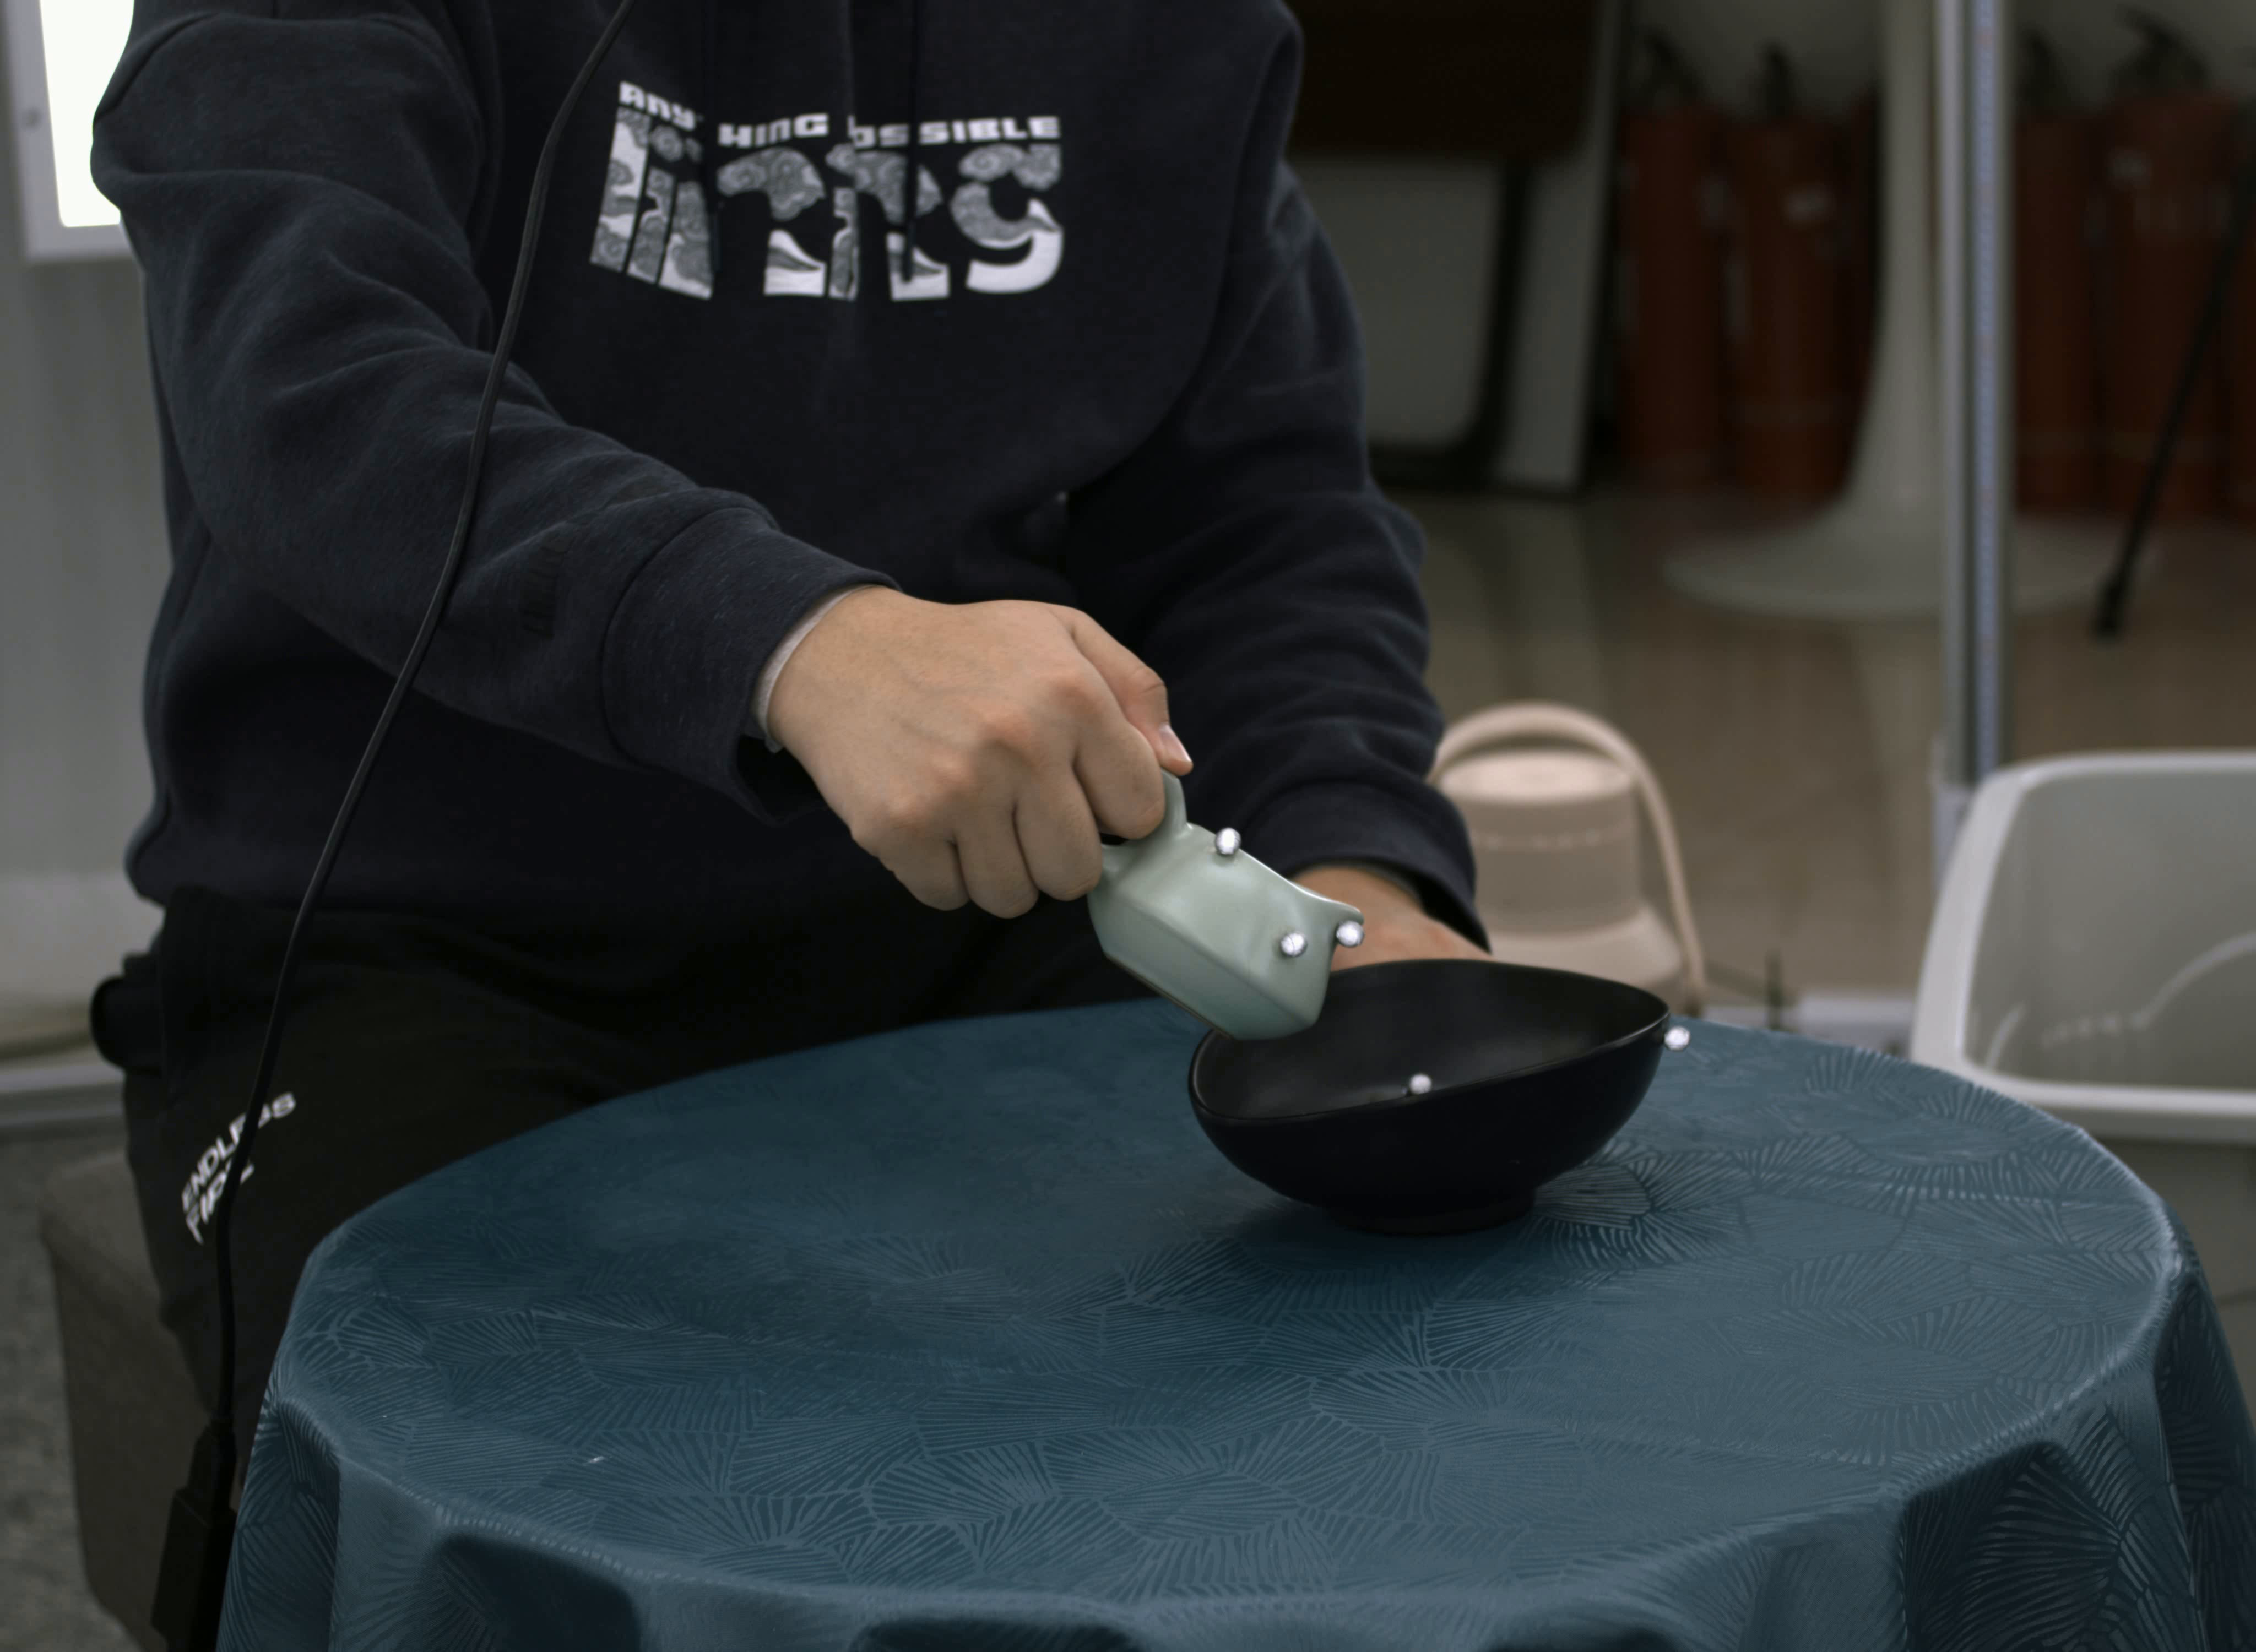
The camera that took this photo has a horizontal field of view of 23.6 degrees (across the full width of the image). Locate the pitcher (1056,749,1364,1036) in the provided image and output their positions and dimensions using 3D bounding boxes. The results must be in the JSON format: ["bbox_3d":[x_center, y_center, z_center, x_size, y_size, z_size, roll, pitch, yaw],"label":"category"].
[{"bbox_3d":[0.019,0.023,1.668,0.106,0.061,0.087,32,-2,-24],"label":"pitcher"}]

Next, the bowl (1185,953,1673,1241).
[{"bbox_3d":[0.099,0.092,1.733,0.166,0.067,0.139,-14,16,-33],"label":"bowl"}]
